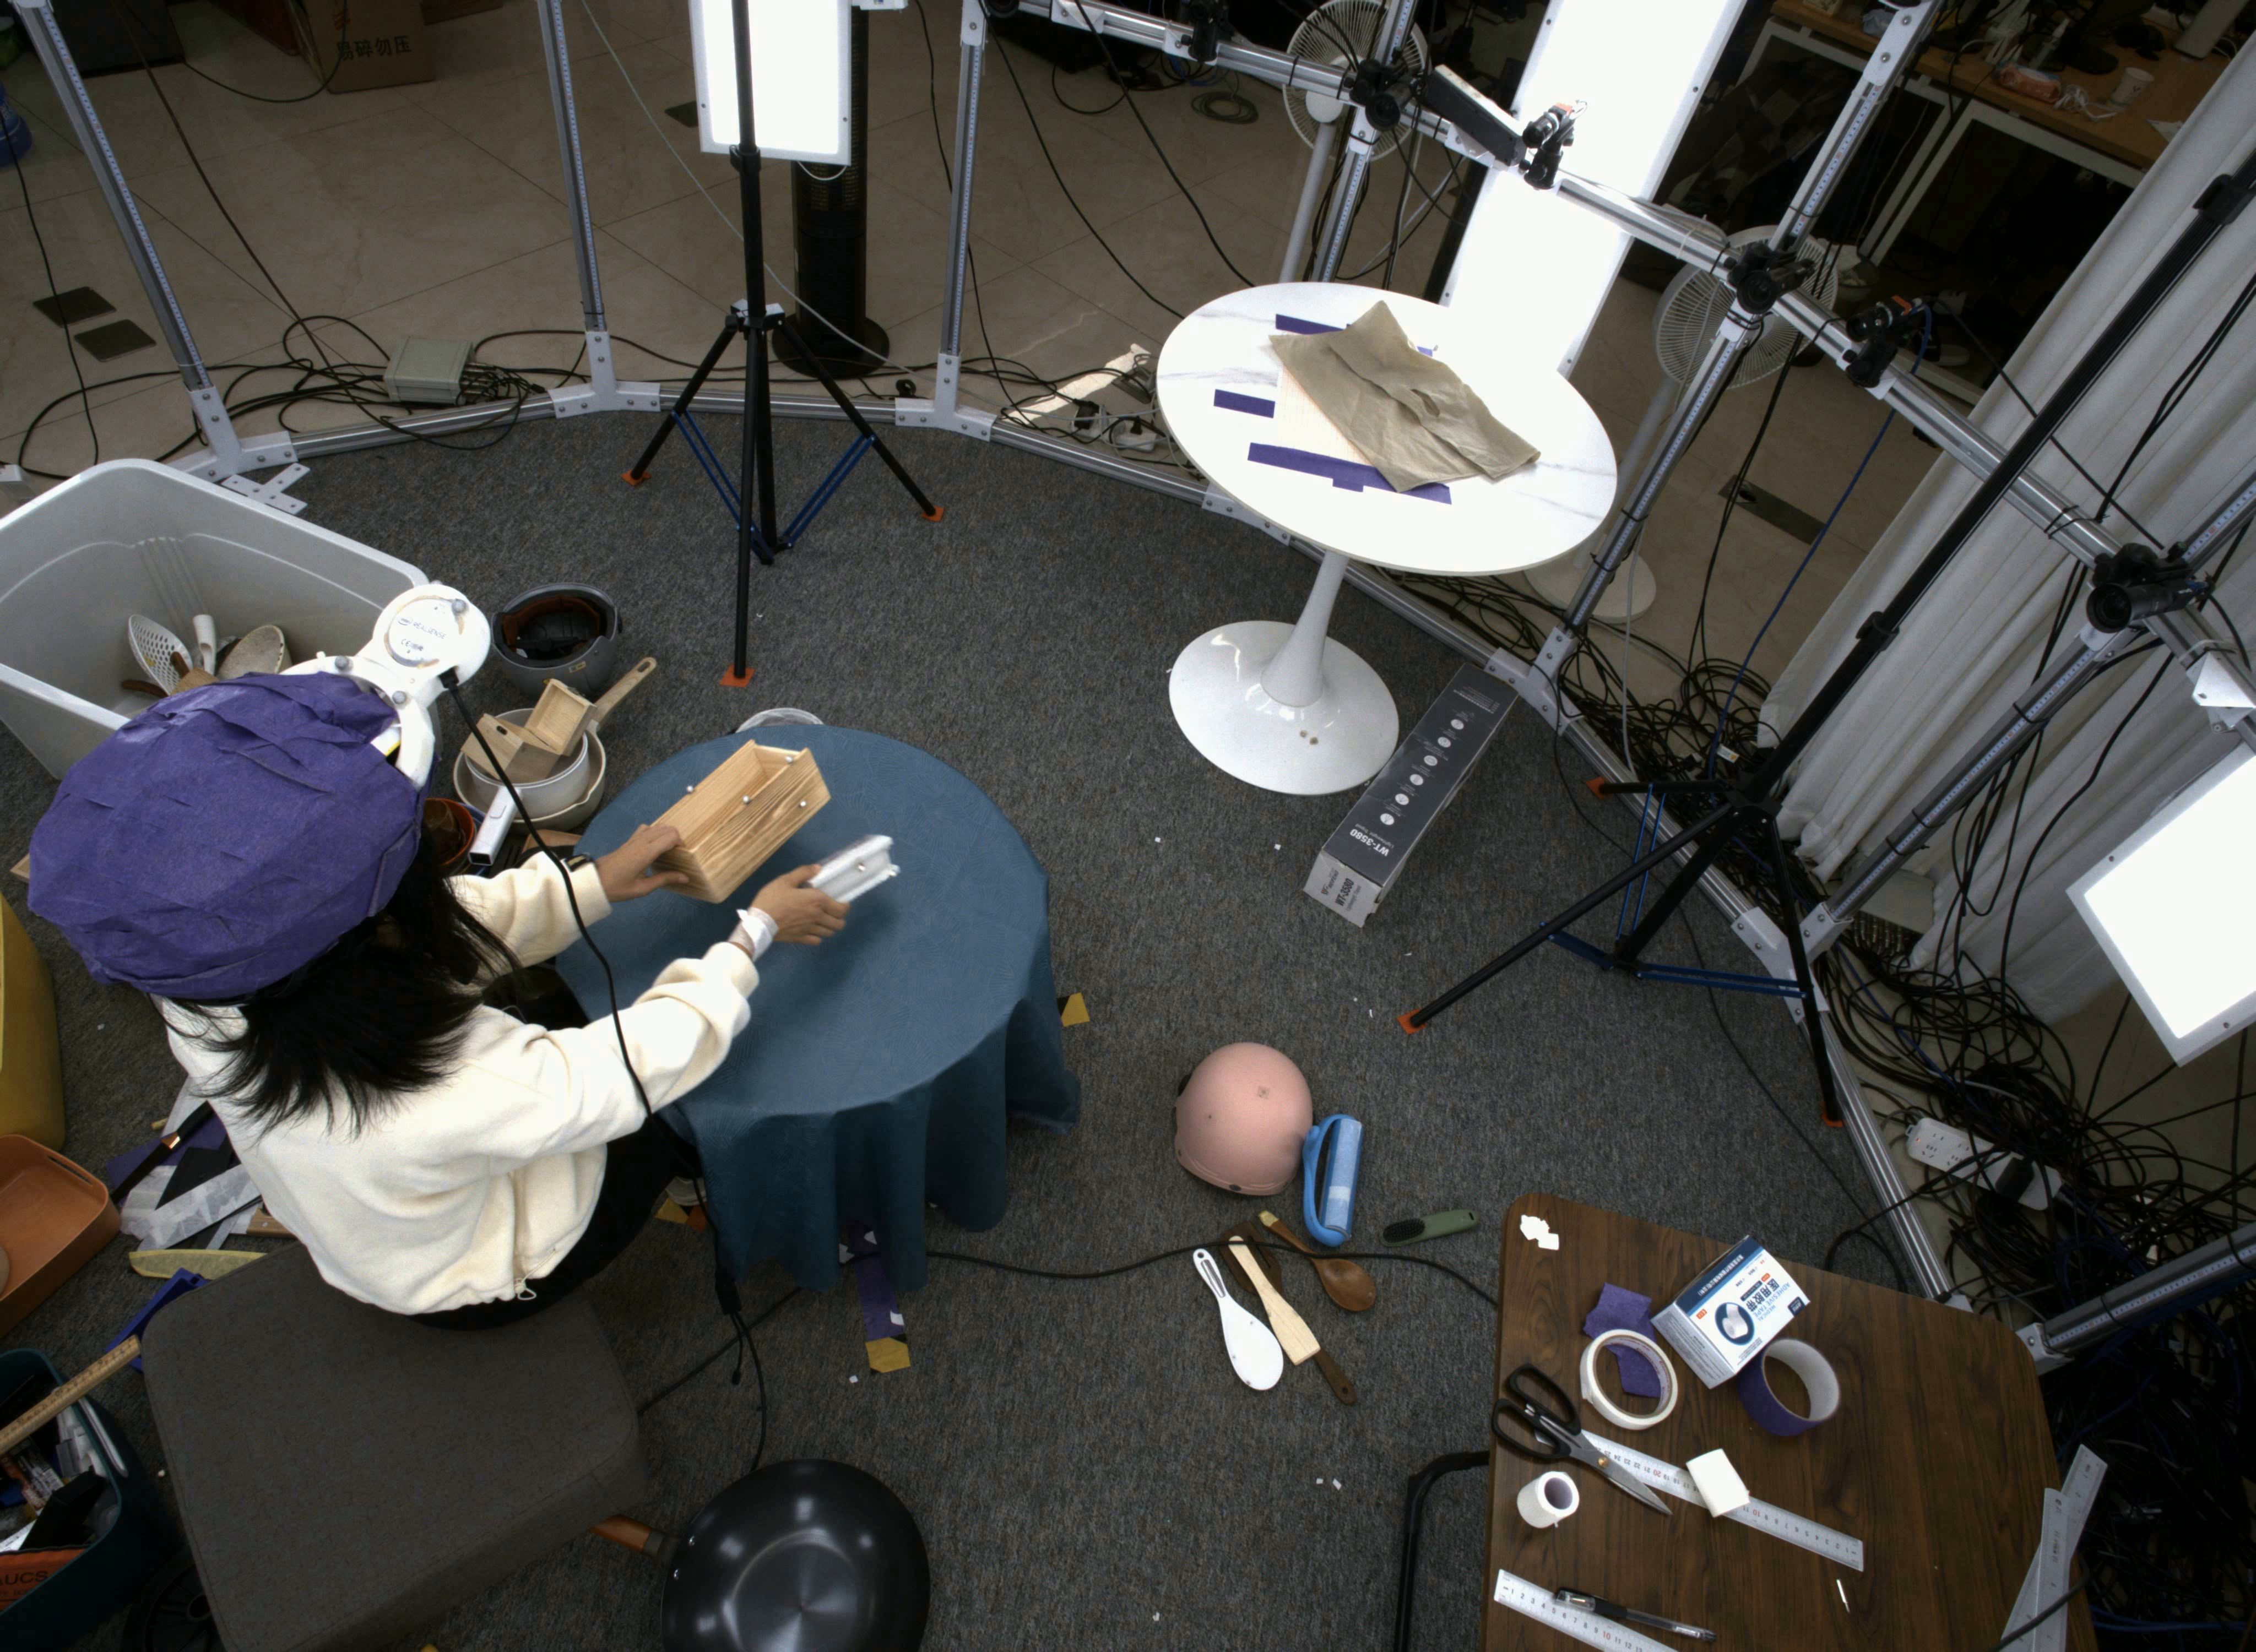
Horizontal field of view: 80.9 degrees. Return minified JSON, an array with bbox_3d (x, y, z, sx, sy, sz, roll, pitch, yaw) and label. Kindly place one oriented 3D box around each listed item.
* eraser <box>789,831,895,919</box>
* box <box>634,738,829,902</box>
[{"bbox_3d":[-0.351,0.057,1.591,0.045,0.051,0.134,8,31,33],"label":"eraser"},{"bbox_3d":[-0.480,-0.012,1.573,0.104,0.083,0.210,9,42,30],"label":"box"}]
